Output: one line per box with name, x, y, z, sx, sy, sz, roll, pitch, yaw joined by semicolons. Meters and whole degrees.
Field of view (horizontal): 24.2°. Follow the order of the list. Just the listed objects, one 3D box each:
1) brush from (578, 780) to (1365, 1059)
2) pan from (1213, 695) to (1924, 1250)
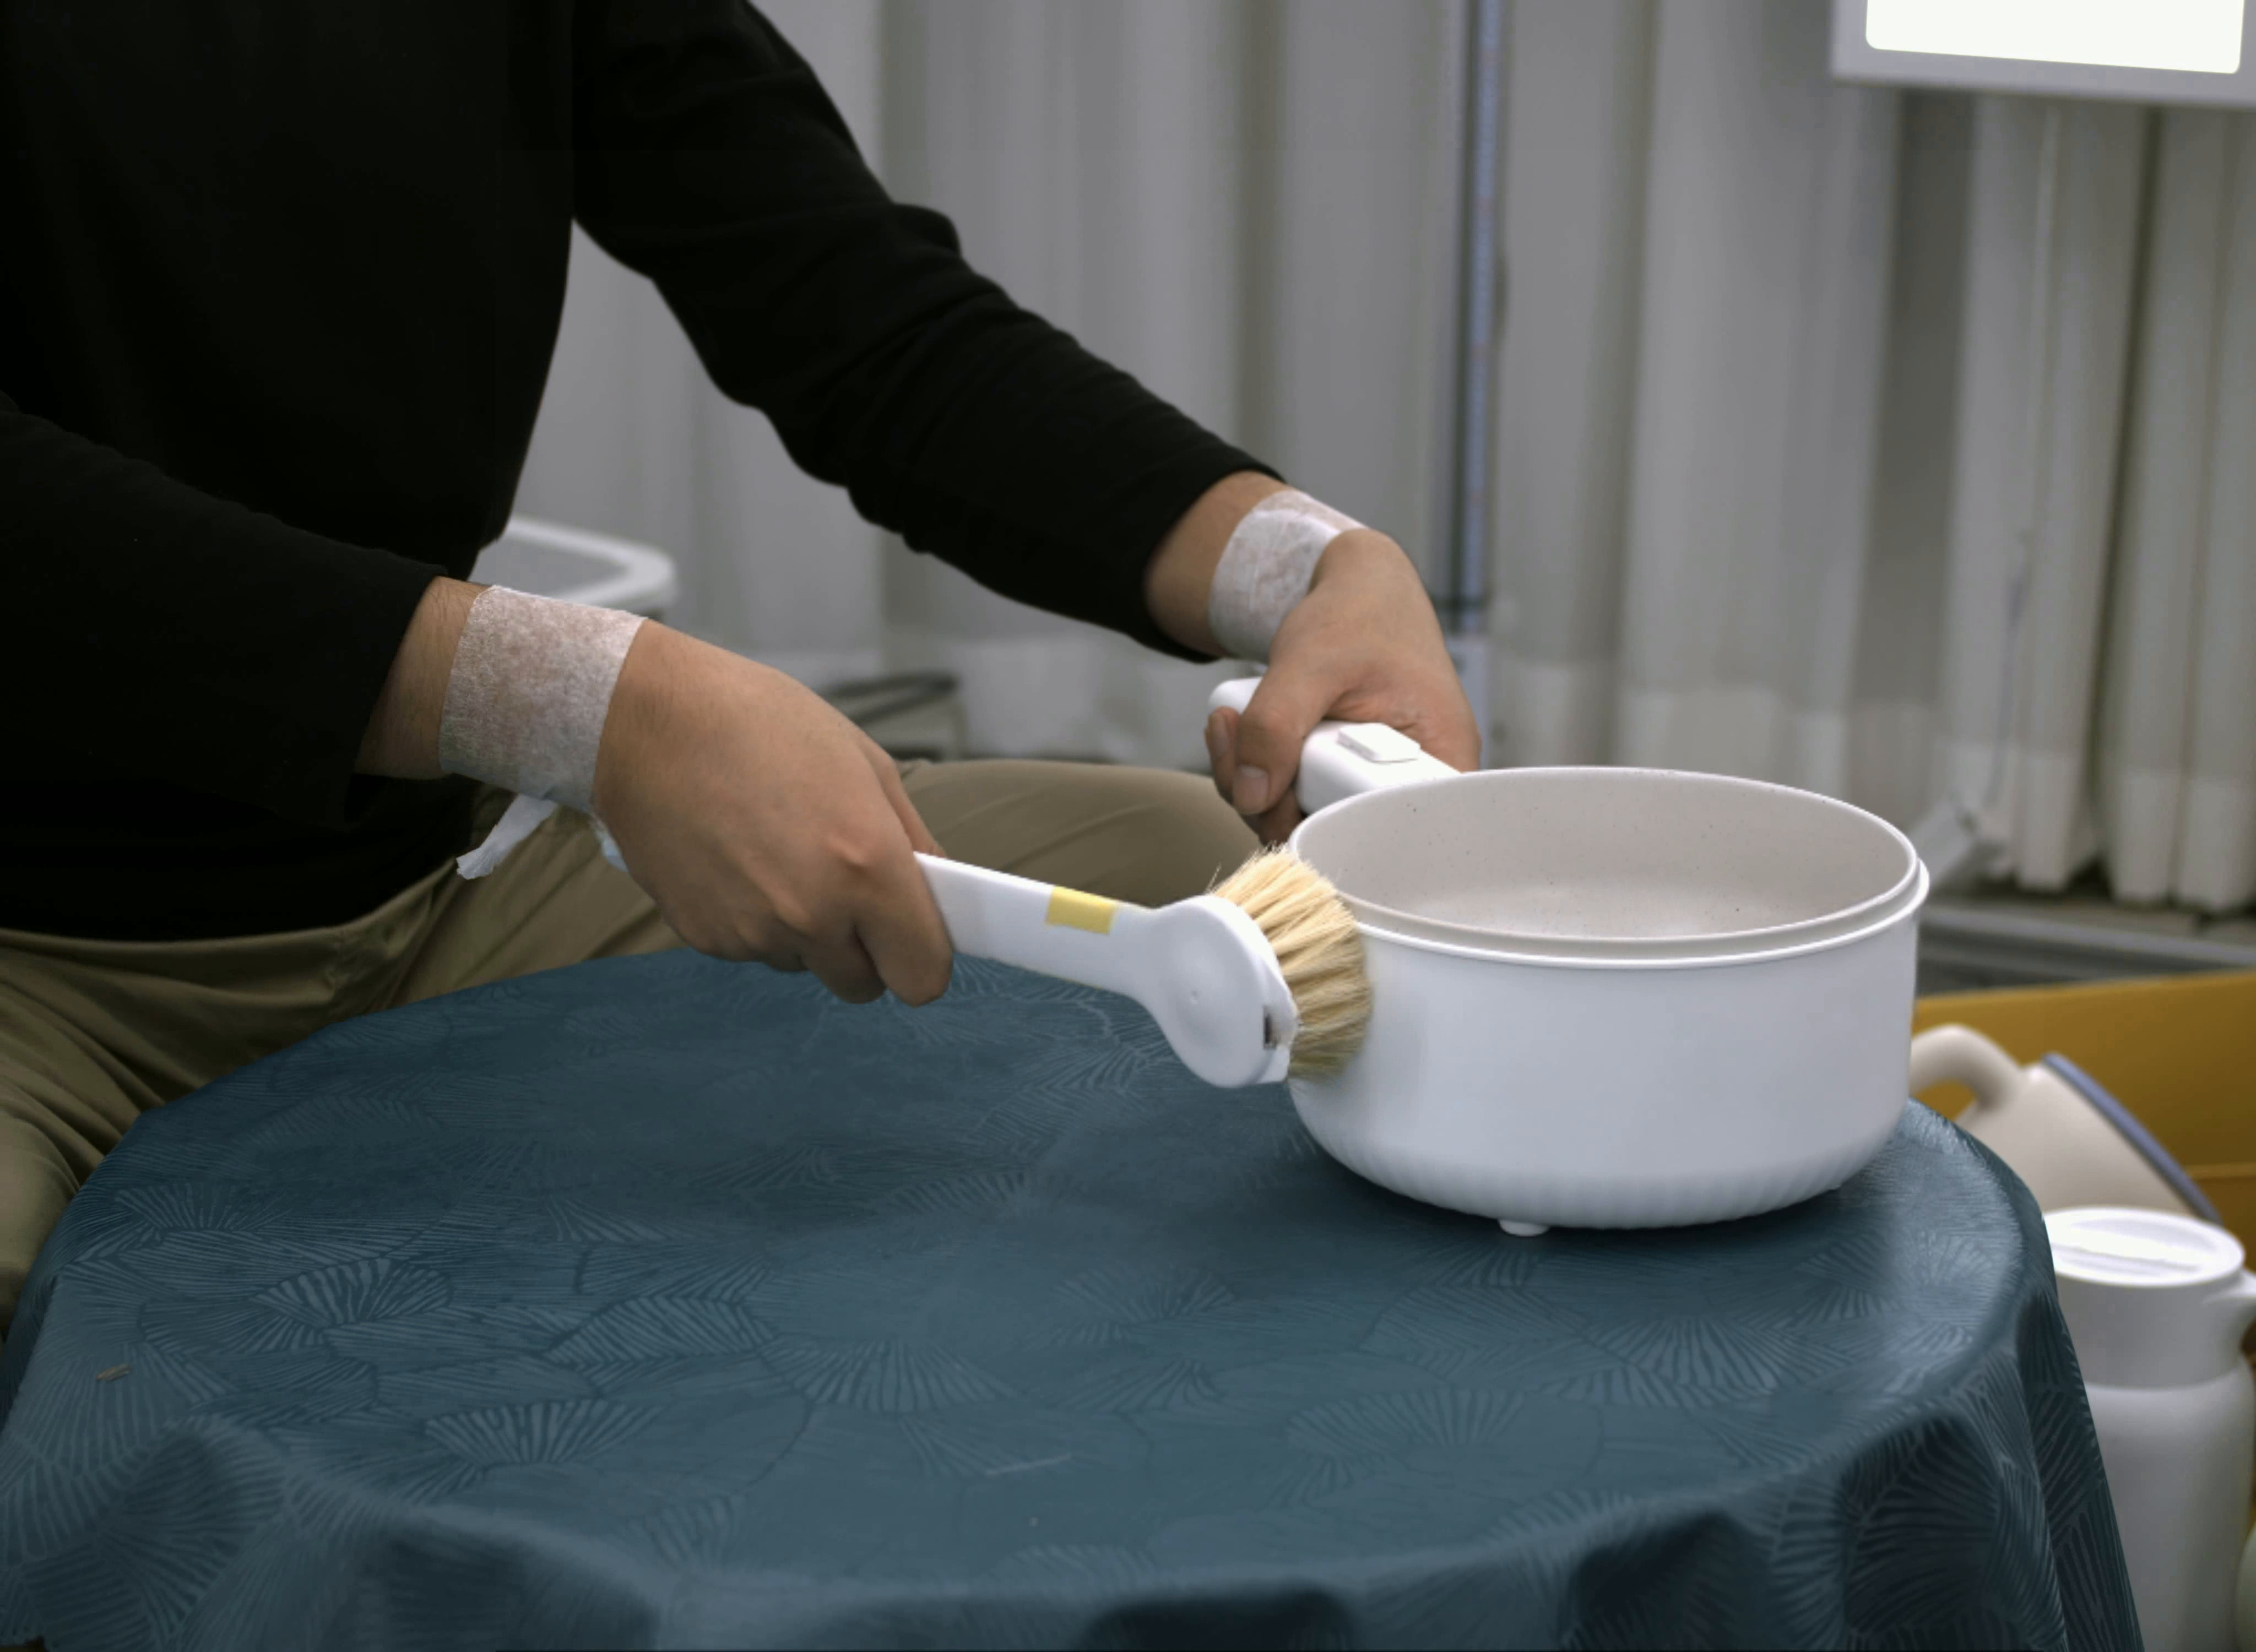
brush;-0.047;0.017;1.622;0.263;0.069;0.056;14;24;27
pan;0.116;0.041;1.709;0.202;0.103;0.350;-9;17;-23
